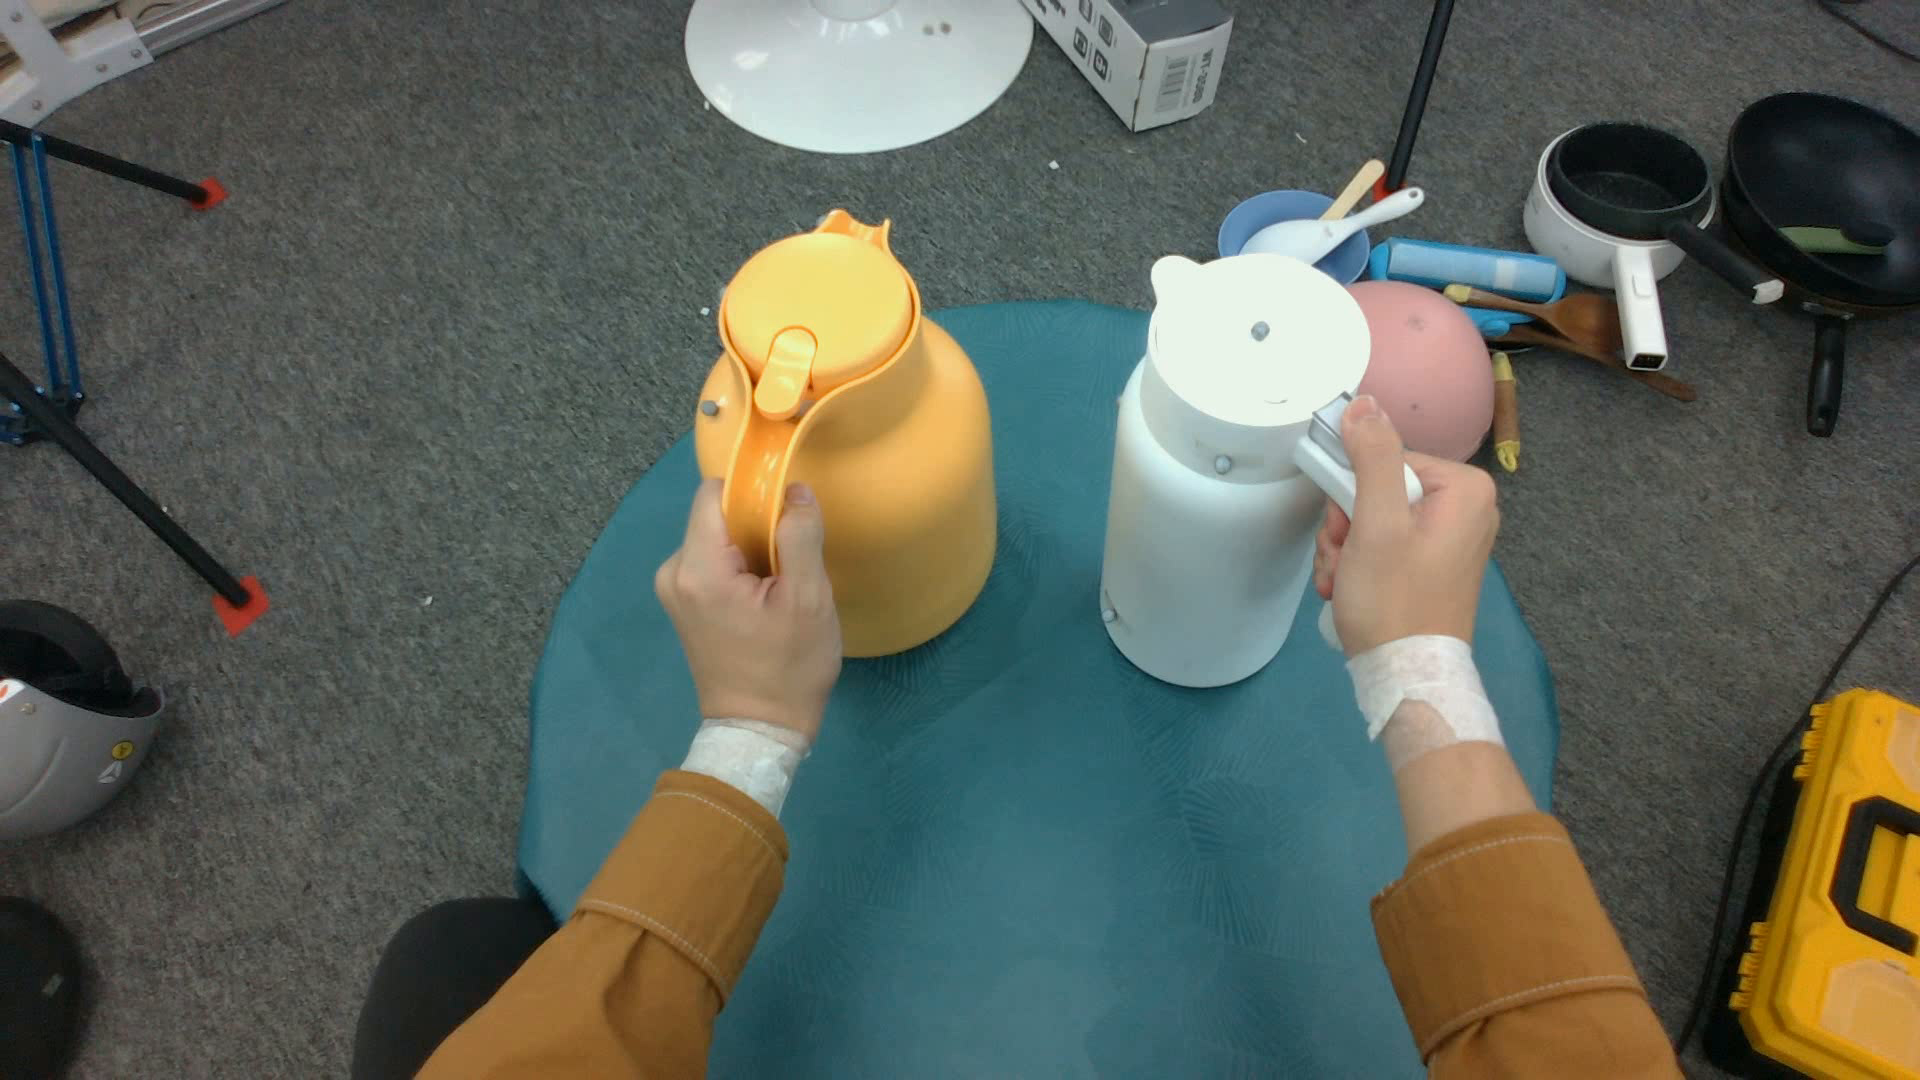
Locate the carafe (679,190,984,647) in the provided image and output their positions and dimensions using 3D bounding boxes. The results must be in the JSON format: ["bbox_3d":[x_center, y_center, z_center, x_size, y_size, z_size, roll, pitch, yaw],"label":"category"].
[{"bbox_3d":[-0.078,-0.045,0.749,0.163,0.259,0.203,13,59,13],"label":"carafe"}]

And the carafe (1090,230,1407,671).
[{"bbox_3d":[0.143,-0.025,0.729,0.124,0.267,0.173,-34,64,-18],"label":"carafe"}]
